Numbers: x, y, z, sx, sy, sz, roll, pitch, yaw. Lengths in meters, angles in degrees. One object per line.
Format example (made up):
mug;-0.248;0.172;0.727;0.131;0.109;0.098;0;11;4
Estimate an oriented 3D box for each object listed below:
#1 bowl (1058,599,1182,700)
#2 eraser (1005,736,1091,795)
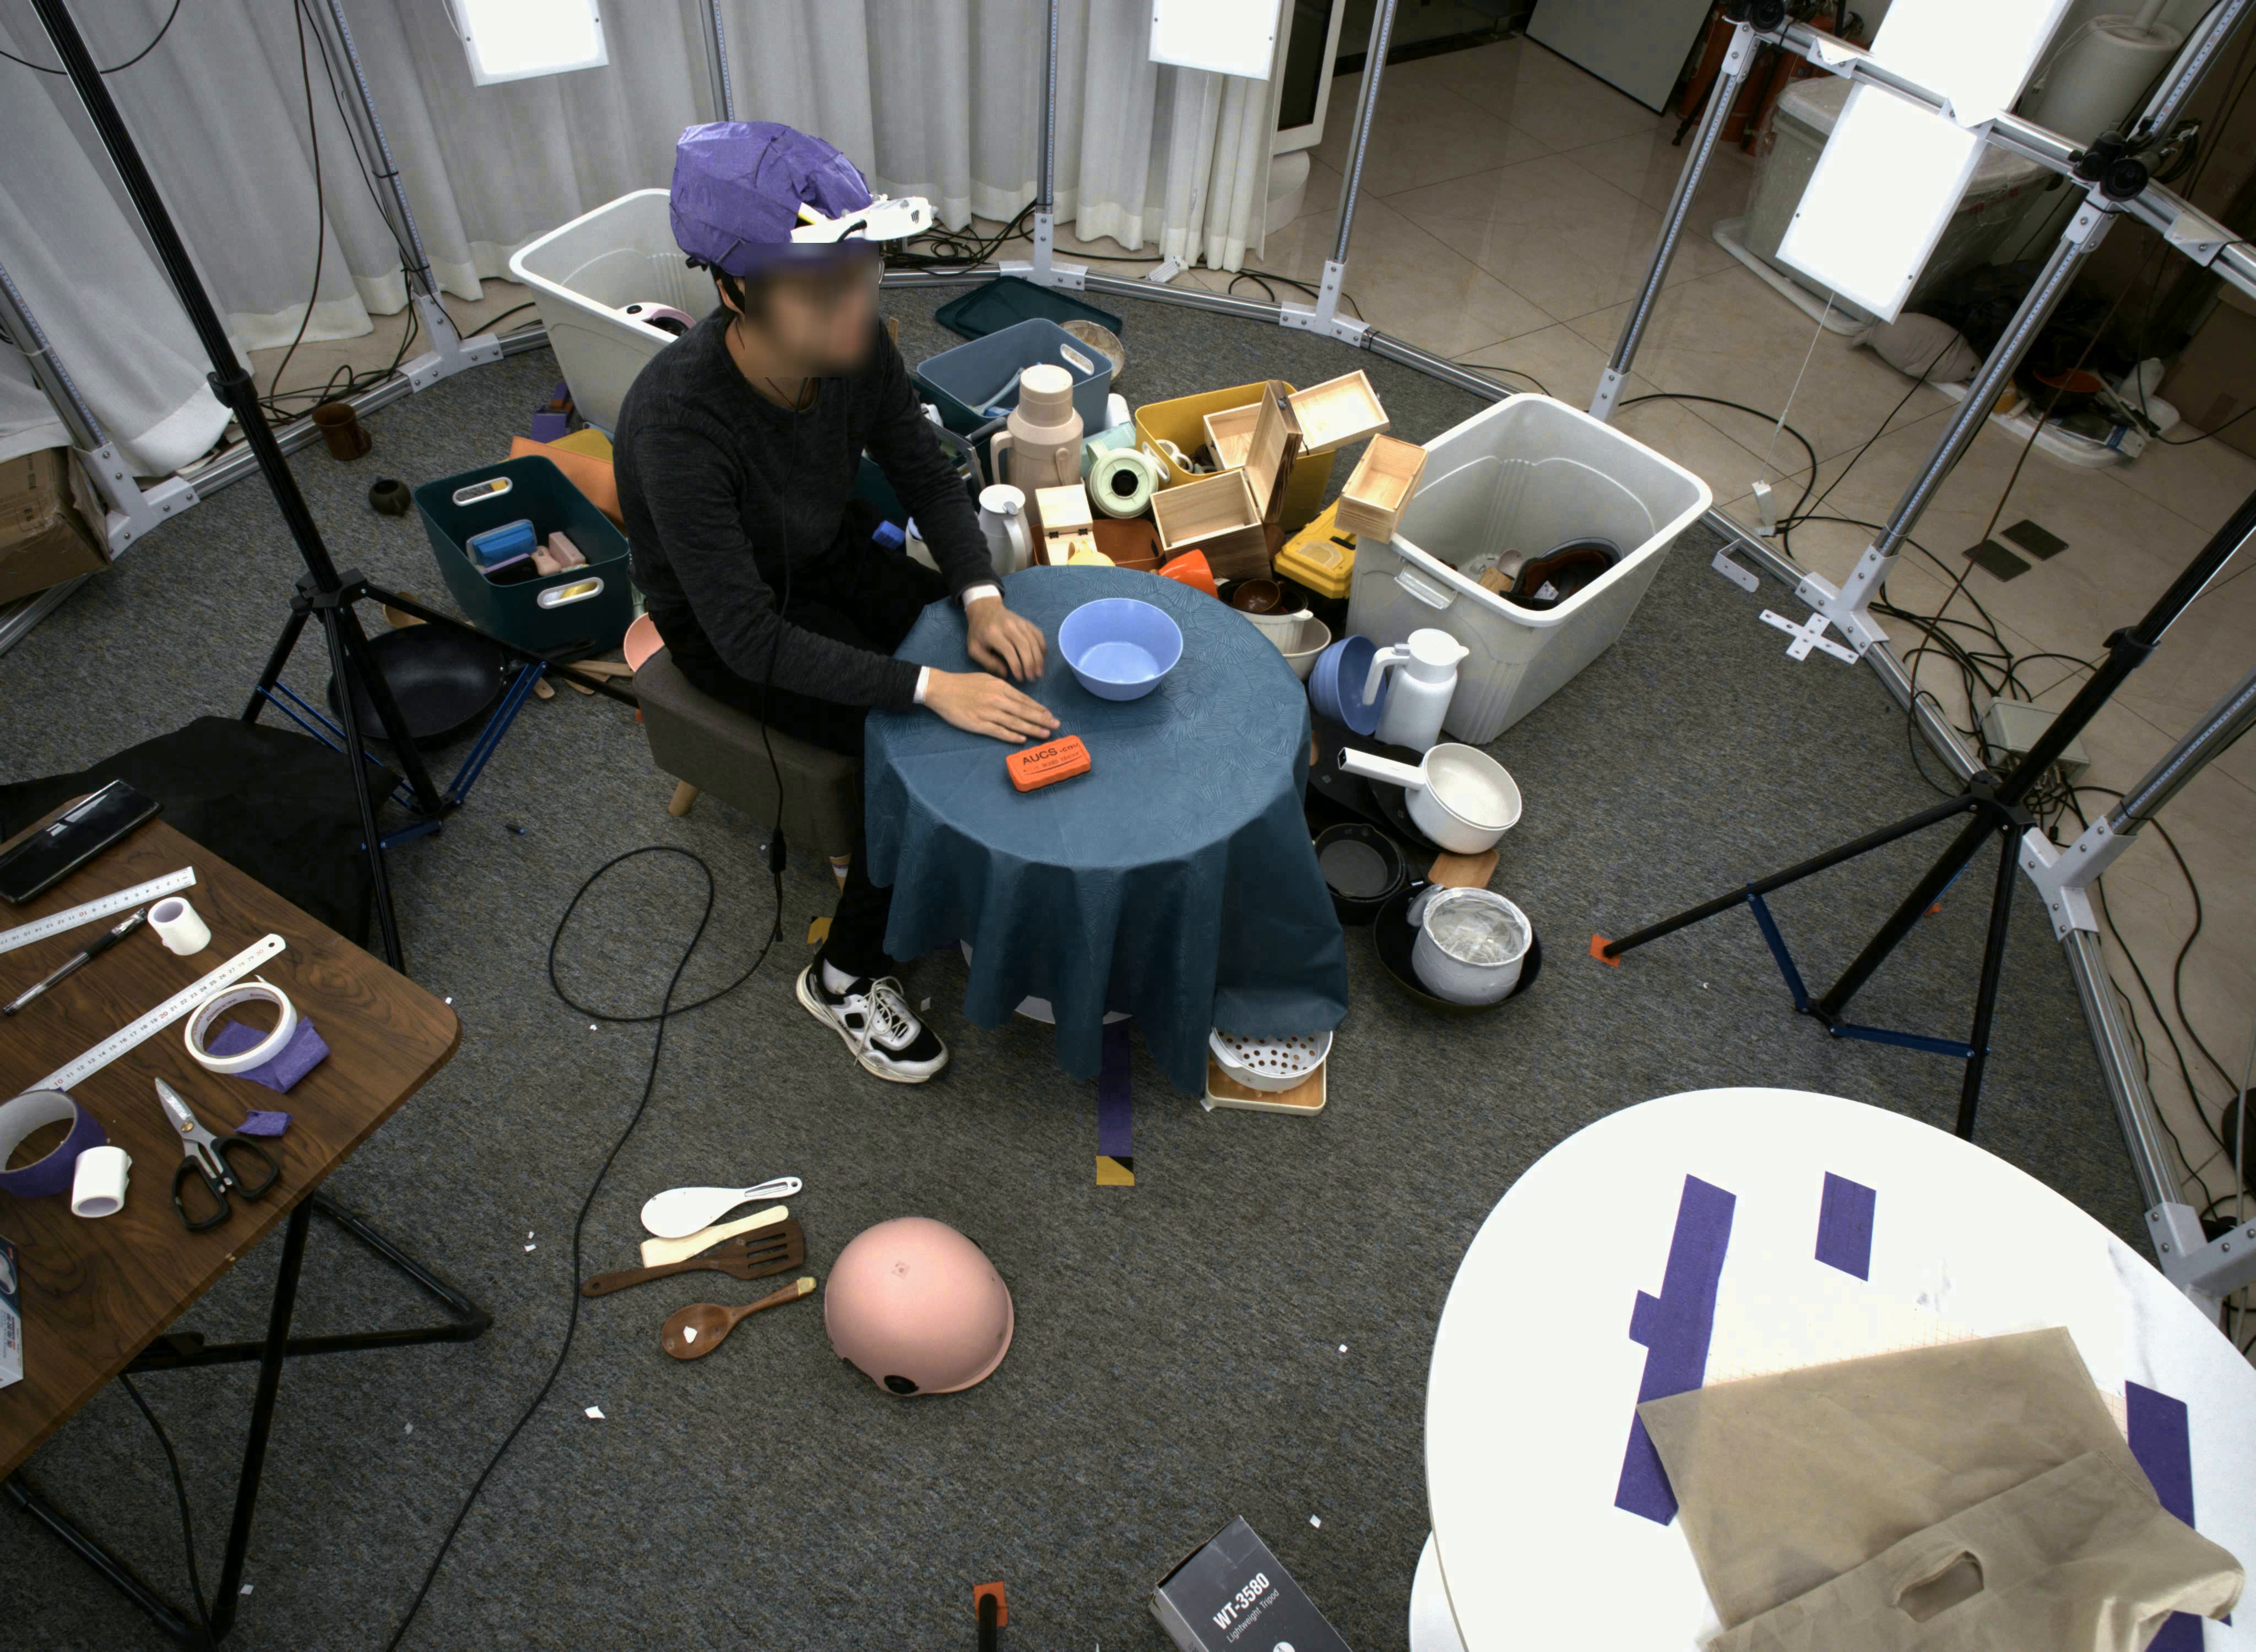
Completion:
bowl;-0.013;-0.244;1.836;0.176;0.068;0.180;2;49;-2
eraser;-0.107;-0.082;1.719;0.108;0.022;0.060;-19;54;-19
